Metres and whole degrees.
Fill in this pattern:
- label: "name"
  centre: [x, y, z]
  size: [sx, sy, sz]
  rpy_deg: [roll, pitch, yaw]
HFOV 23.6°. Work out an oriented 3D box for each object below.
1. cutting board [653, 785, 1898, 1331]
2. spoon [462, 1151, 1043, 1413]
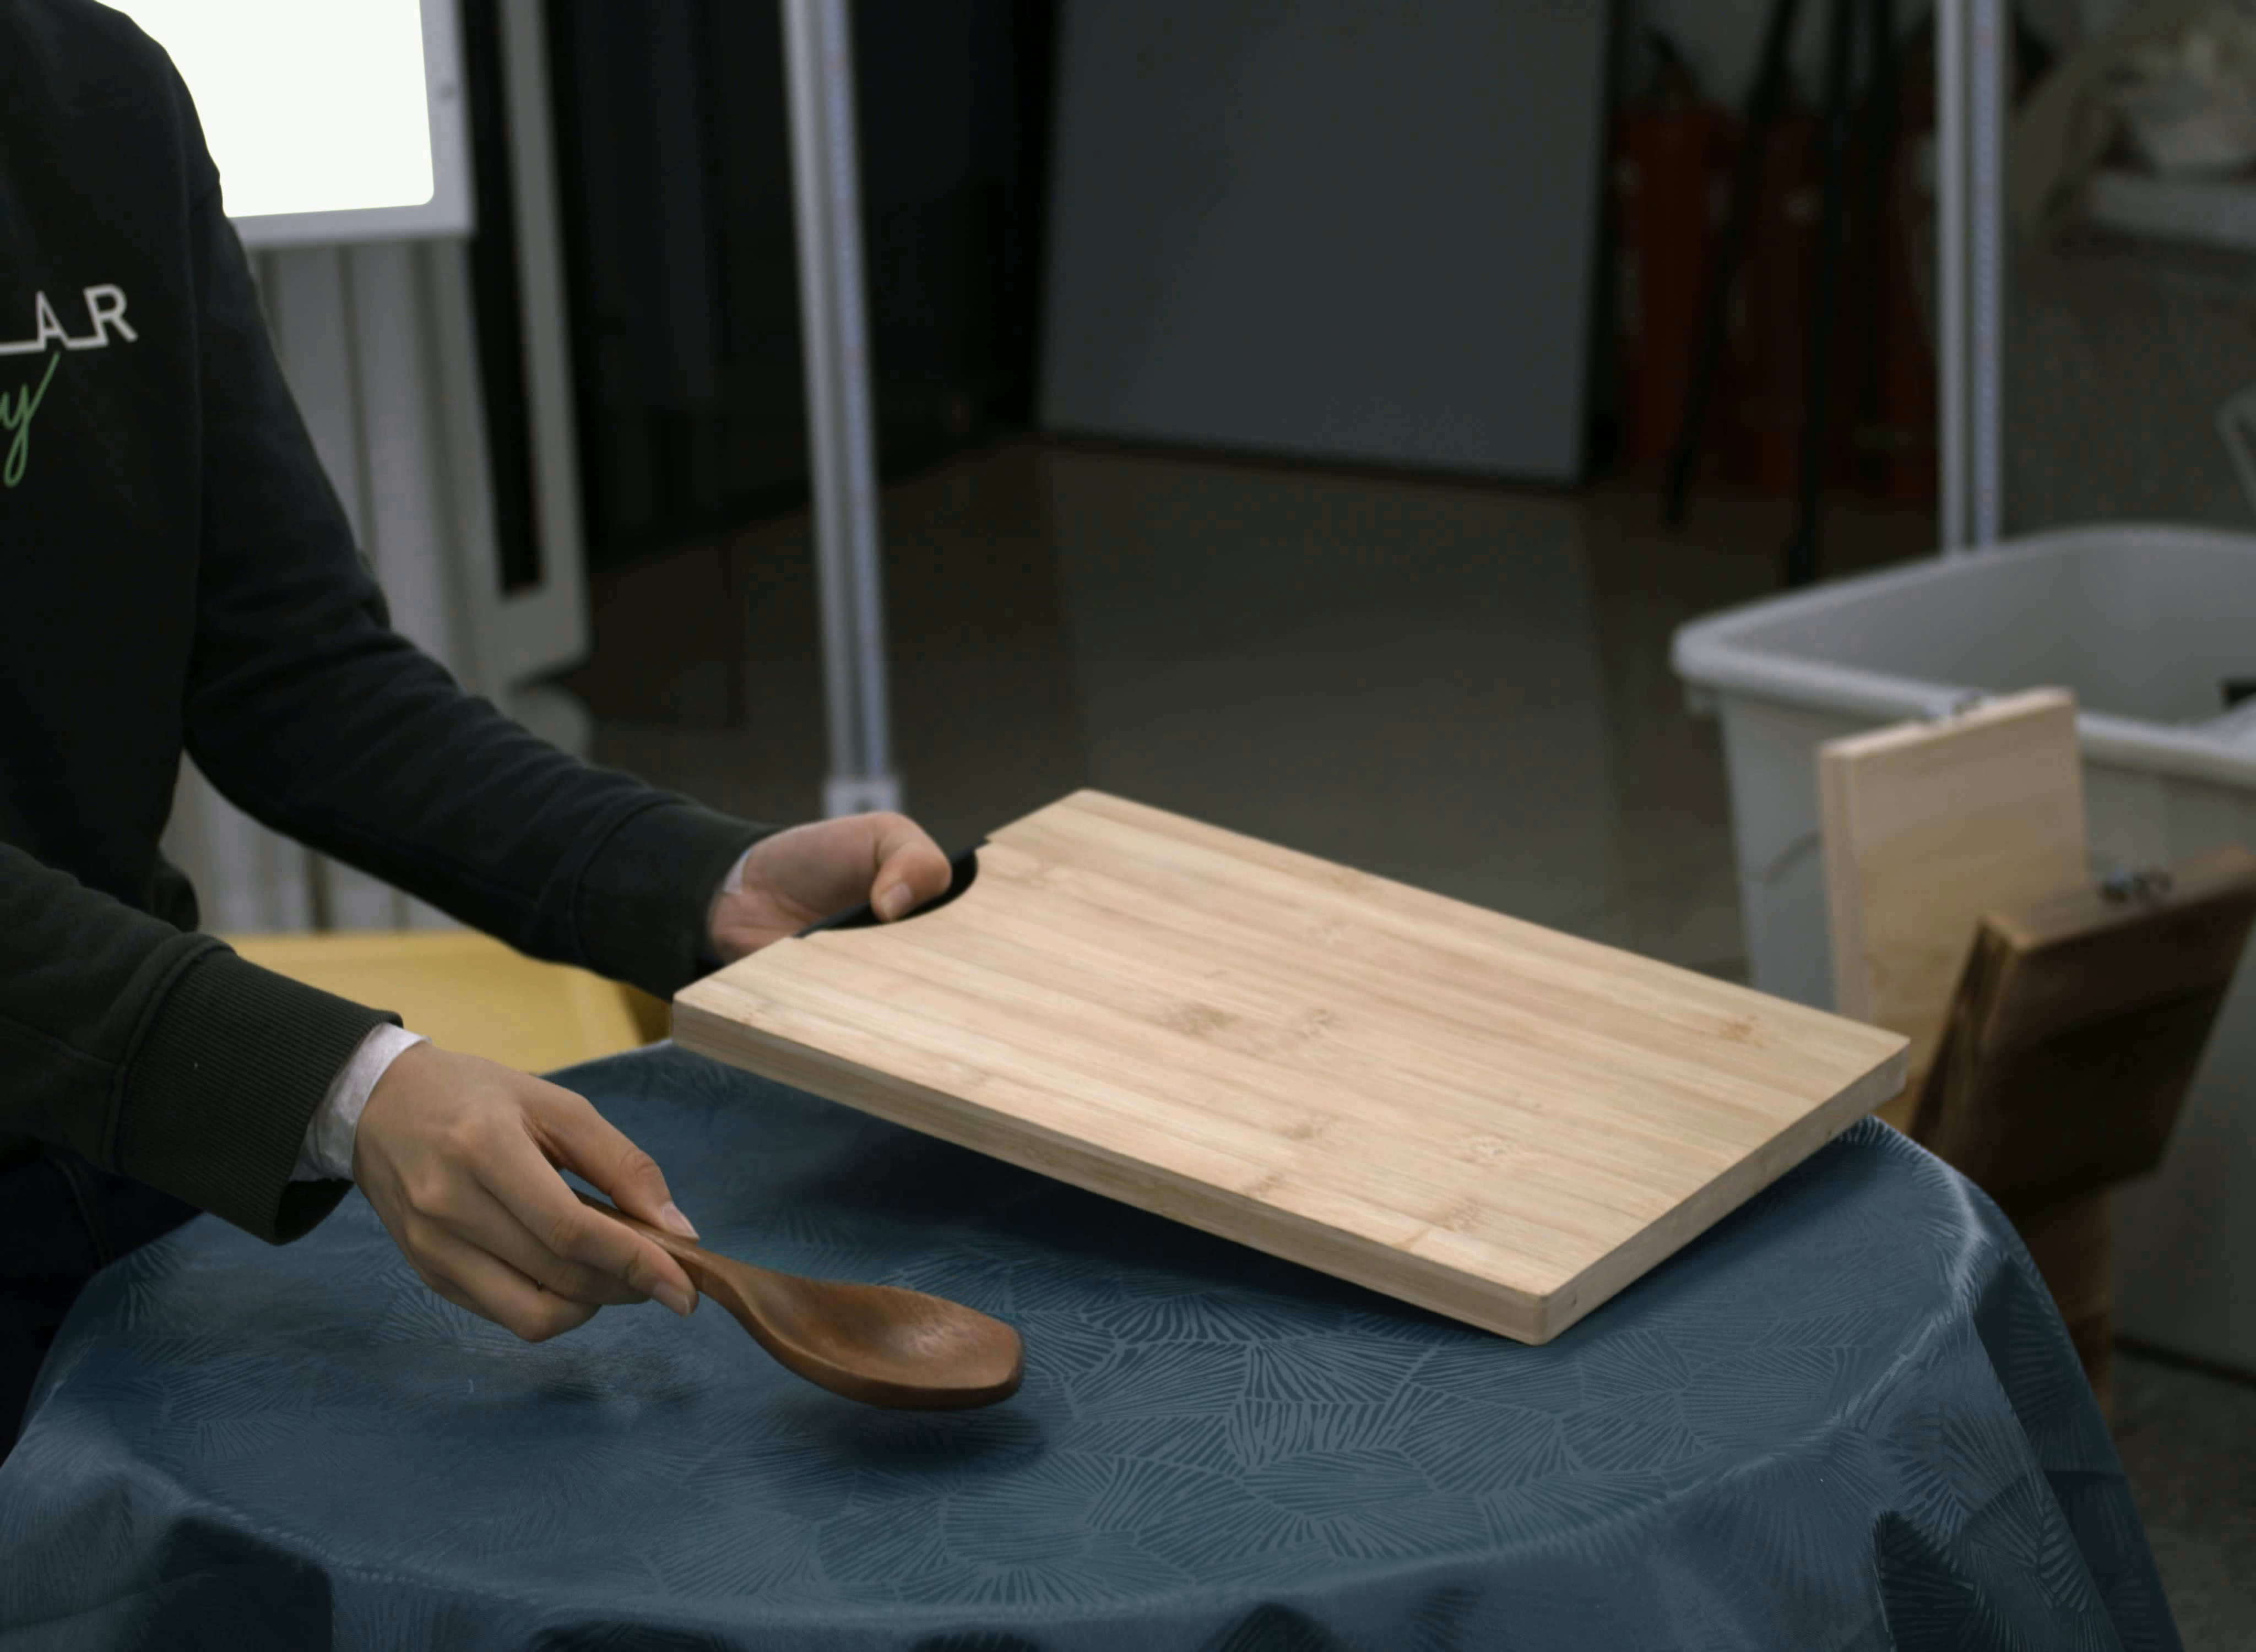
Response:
- label: "cutting board"
  centre: [0.048, 0.069, 1.781]
  size: [0.350, 0.024, 0.246]
  rpy_deg: [16, 26, 32]
- label: "spoon"
  centre: [-0.116, 0.136, 1.604]
  size: [0.217, 0.017, 0.074]
  rpy_deg: [19, 21, 35]
